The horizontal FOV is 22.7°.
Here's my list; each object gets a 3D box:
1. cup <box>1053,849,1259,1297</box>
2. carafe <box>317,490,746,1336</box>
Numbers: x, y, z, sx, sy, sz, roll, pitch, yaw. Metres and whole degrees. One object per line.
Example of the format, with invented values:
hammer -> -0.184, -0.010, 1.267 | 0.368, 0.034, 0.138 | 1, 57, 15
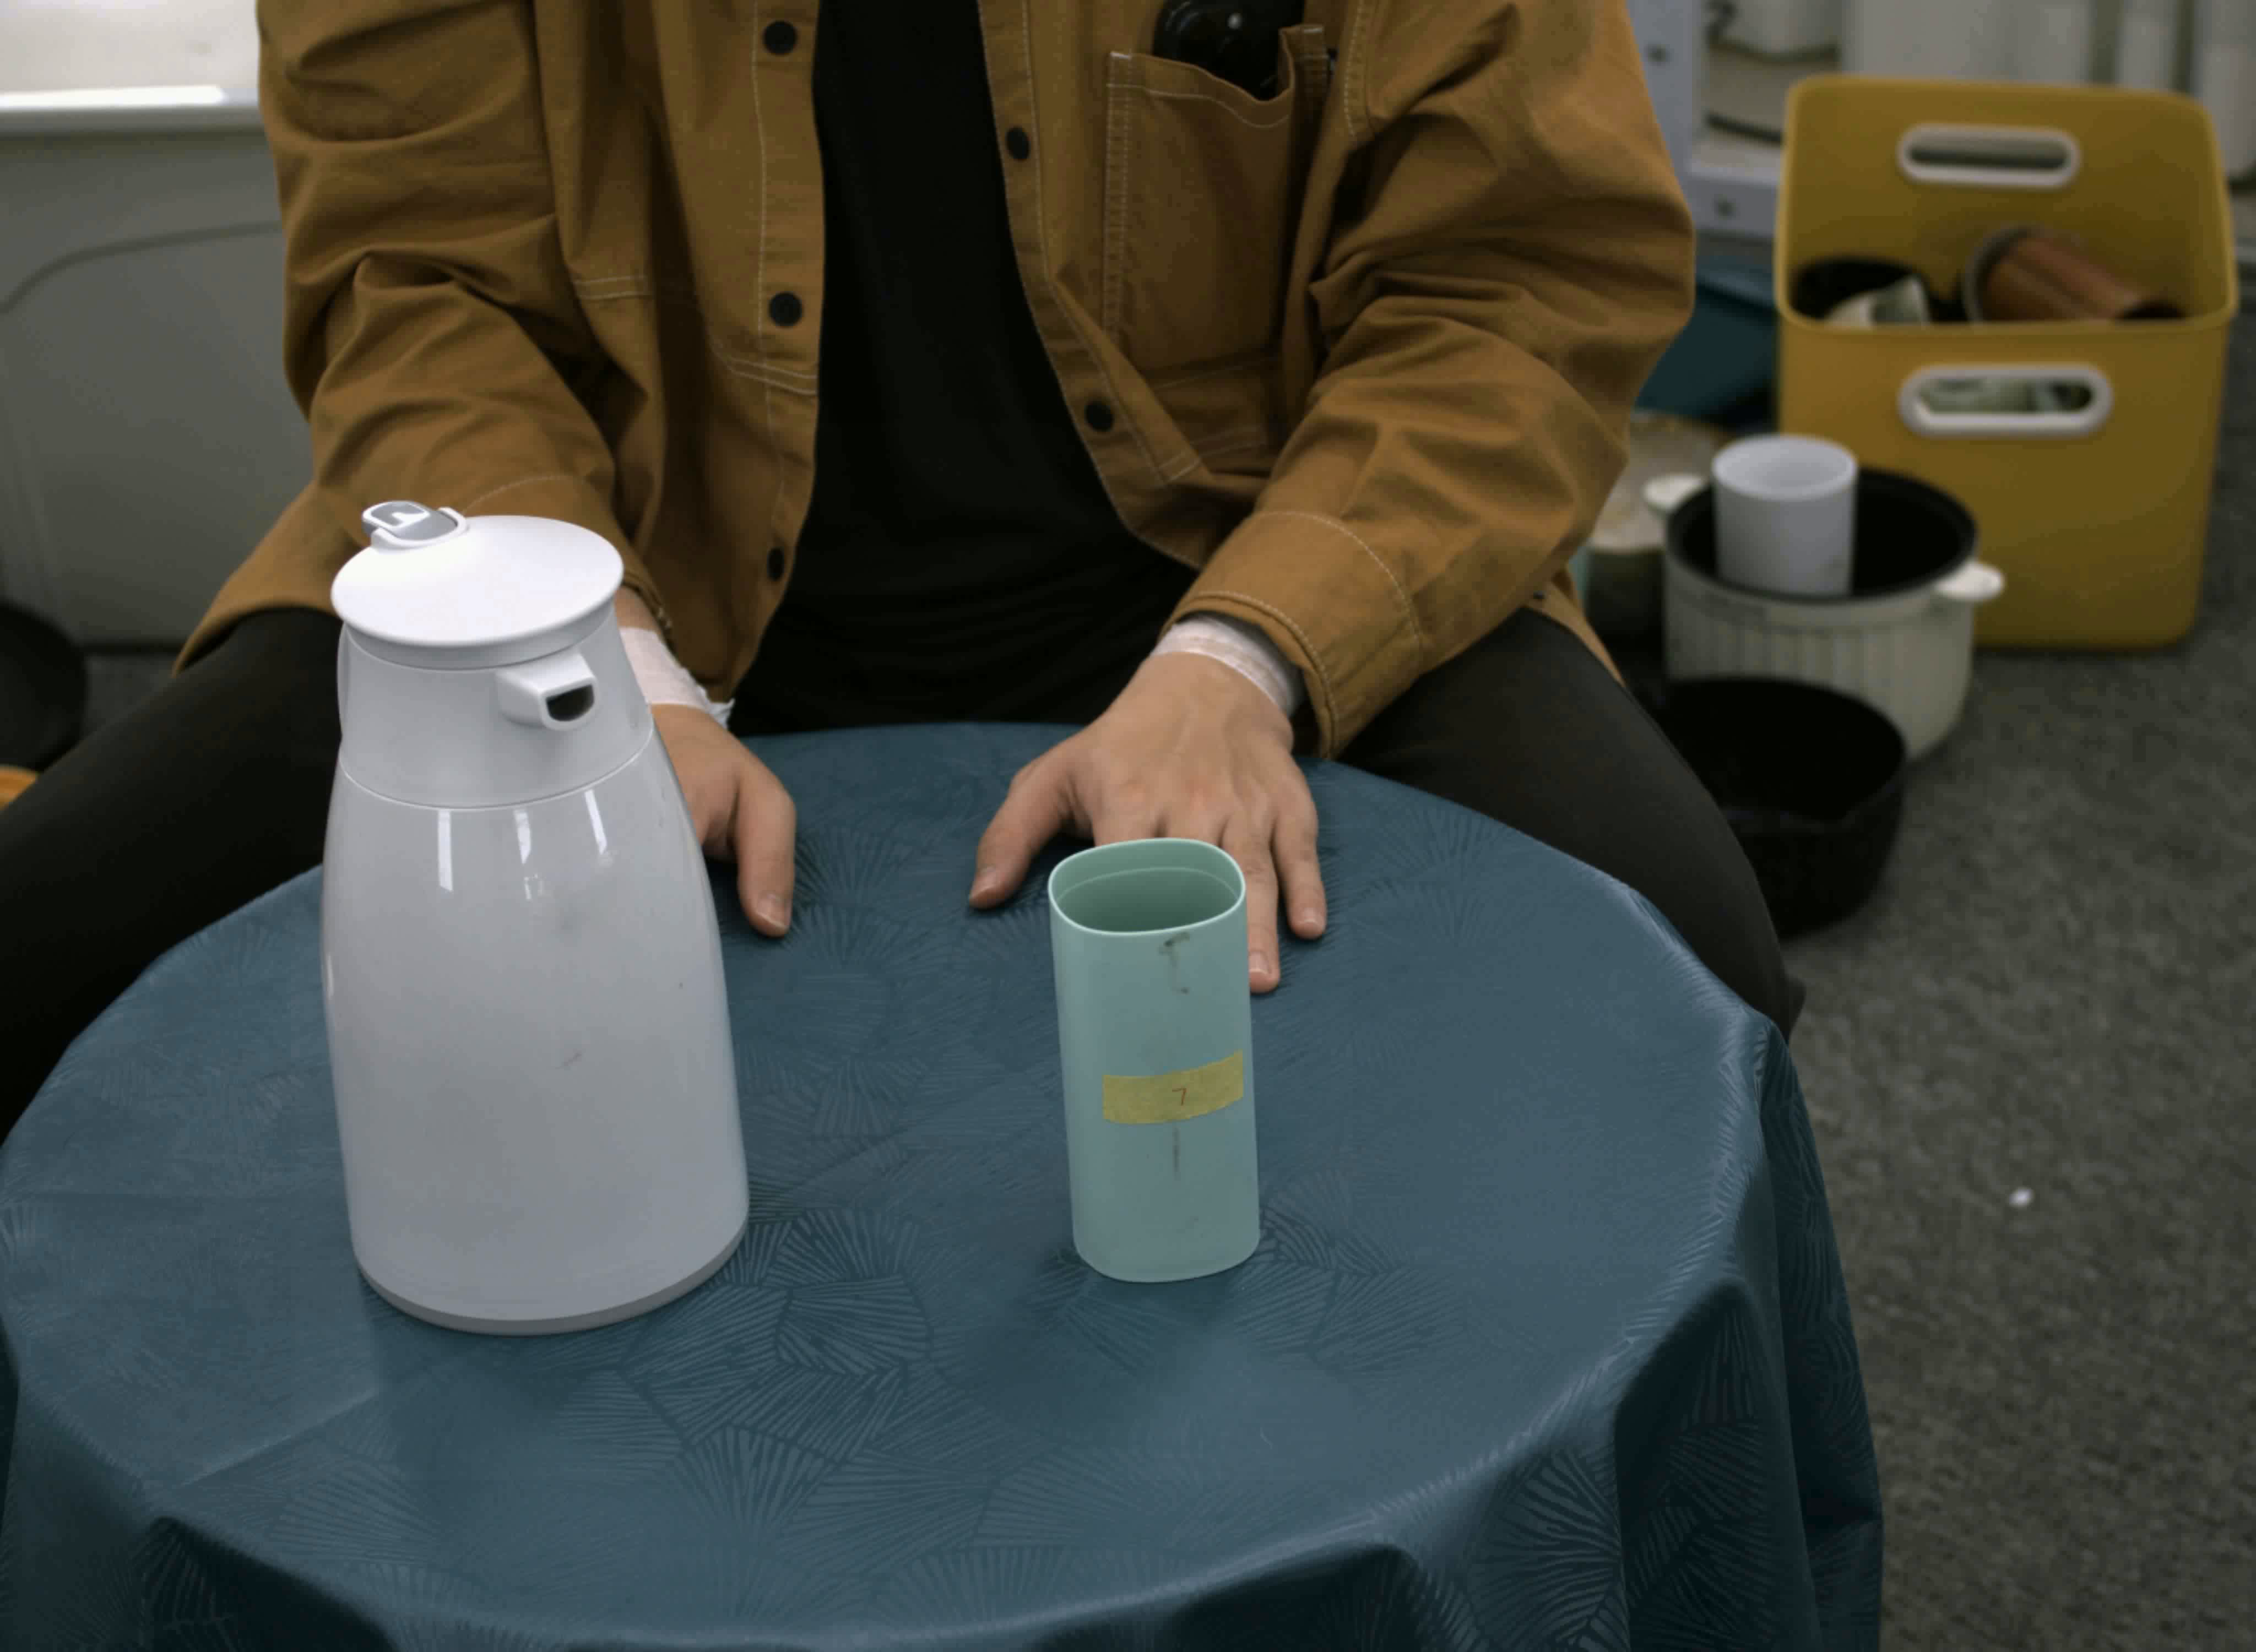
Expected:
cup -> 0.010, 0.079, 1.807 | 0.066, 0.131, 0.068 | -2, 26, 1
carafe -> -0.208, 0.018, 1.814 | 0.133, 0.246, 0.168 | -19, 30, -28
